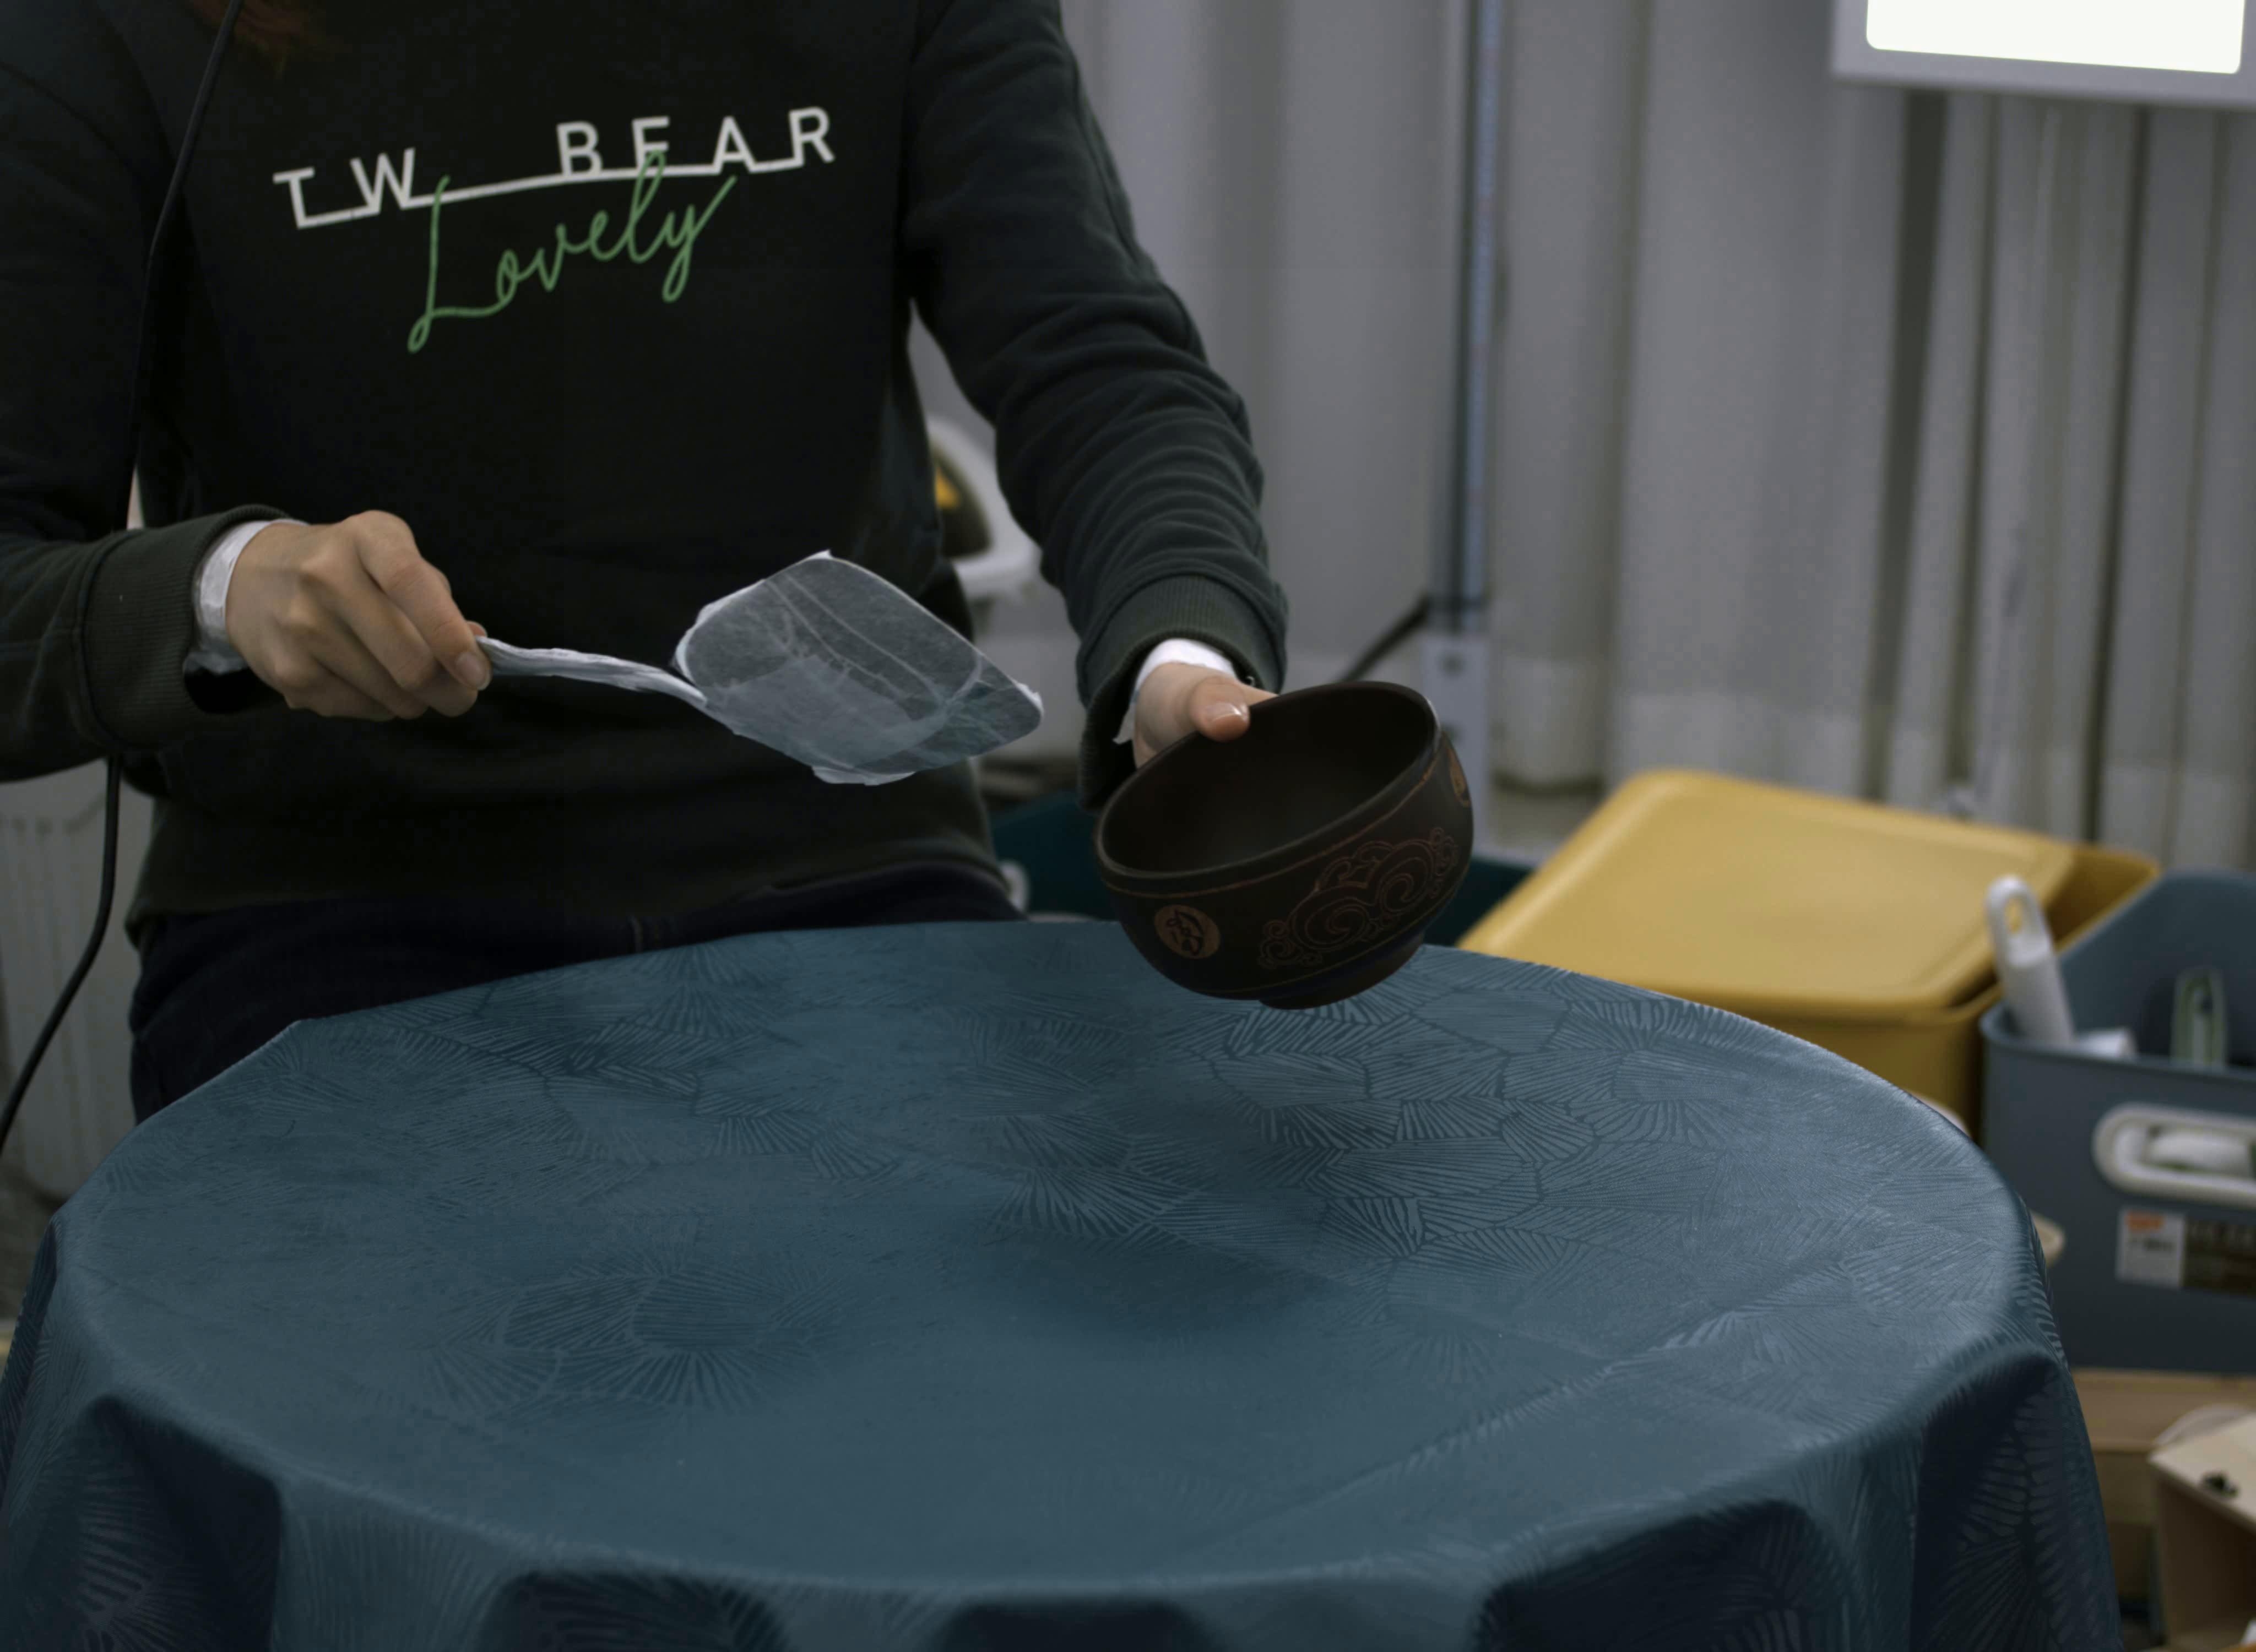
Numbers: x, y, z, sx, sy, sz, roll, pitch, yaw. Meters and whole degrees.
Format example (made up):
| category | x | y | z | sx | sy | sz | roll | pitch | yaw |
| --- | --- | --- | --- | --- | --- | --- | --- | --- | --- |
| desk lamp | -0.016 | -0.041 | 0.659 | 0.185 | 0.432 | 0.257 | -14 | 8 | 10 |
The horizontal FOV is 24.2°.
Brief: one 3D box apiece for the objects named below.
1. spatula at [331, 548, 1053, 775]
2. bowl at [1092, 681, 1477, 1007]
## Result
| category | x | y | z | sx | sy | sz | roll | pitch | yaw |
| --- | --- | --- | --- | --- | --- | --- | --- | --- | --- |
| spatula | -0.161 | -0.051 | 1.671 | 0.100 | 0.045 | 0.360 | 35 | -17 | -33 |
| bowl | 0.054 | 0.013 | 1.638 | 0.117 | 0.070 | 0.117 | -19 | 22 | 8 |
